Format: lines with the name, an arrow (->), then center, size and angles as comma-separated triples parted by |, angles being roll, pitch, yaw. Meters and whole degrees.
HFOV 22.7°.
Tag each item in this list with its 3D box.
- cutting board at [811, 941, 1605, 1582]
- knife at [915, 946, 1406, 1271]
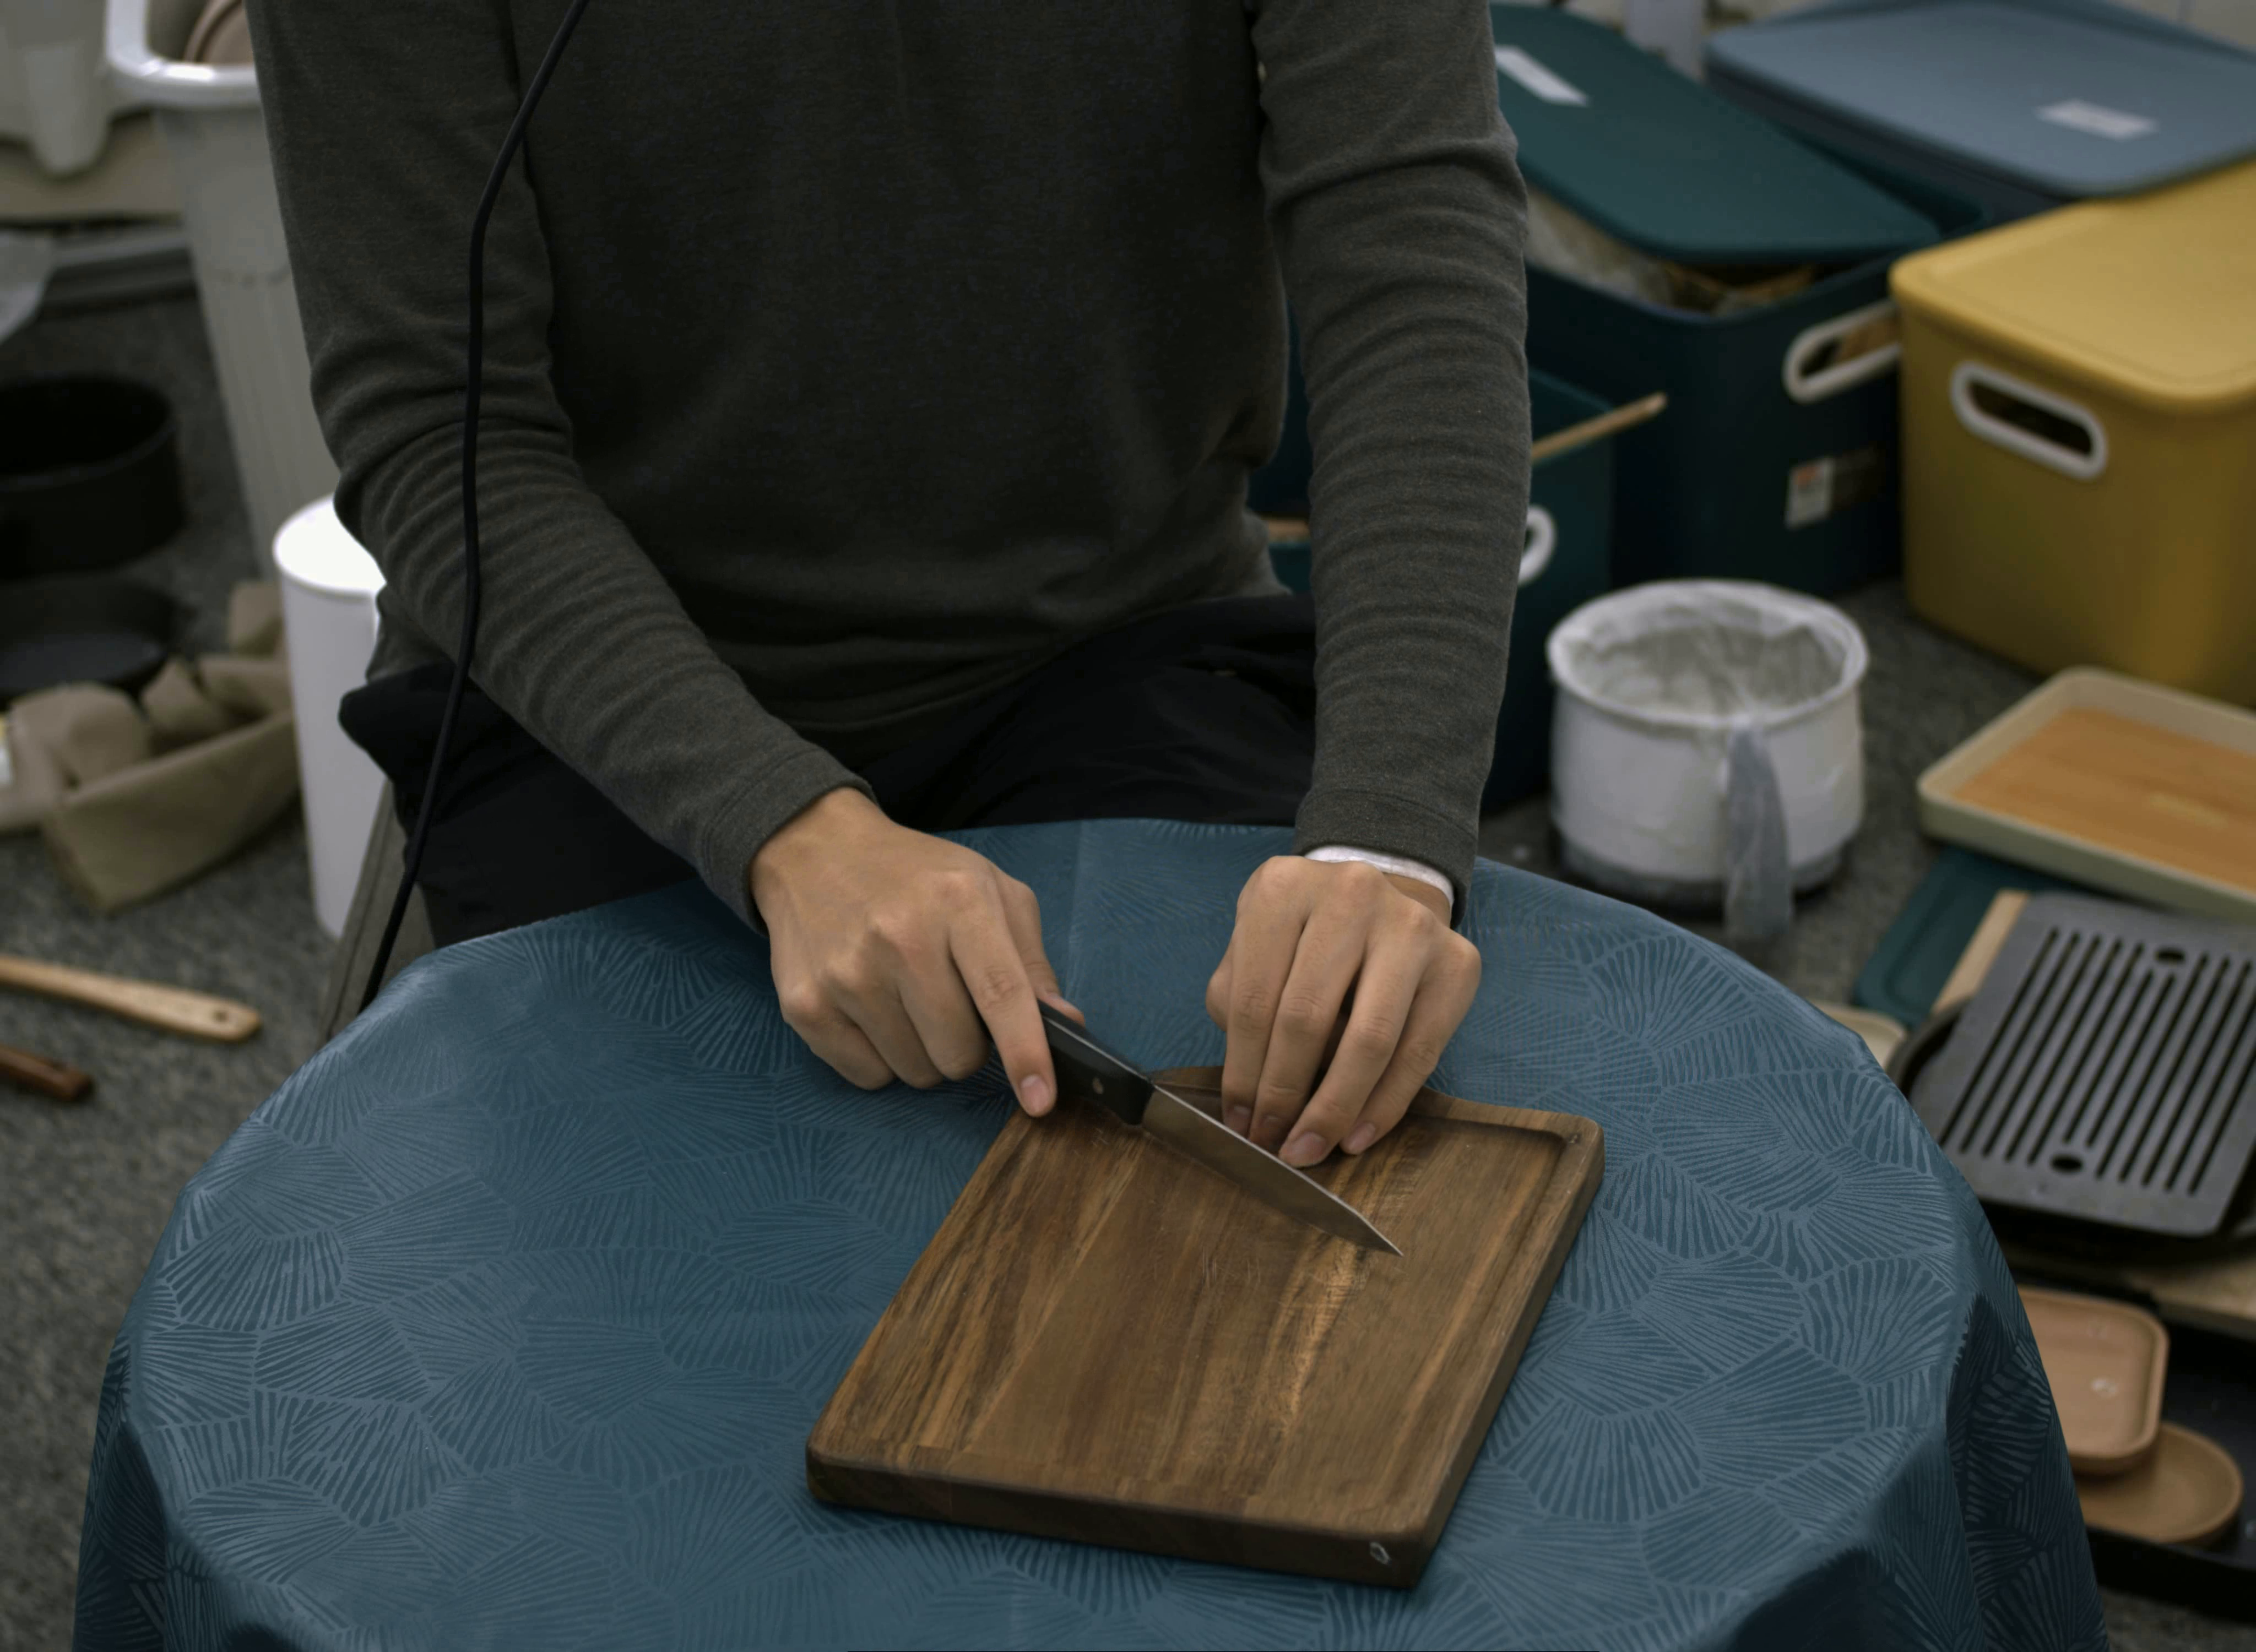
cutting board -> 0.045, 0.128, 1.823 | 0.199, 0.023, 0.358 | 6, 28, 16
knife -> 0.009, 0.092, 1.851 | 0.016, 0.024, 0.238 | -22, 37, -36
